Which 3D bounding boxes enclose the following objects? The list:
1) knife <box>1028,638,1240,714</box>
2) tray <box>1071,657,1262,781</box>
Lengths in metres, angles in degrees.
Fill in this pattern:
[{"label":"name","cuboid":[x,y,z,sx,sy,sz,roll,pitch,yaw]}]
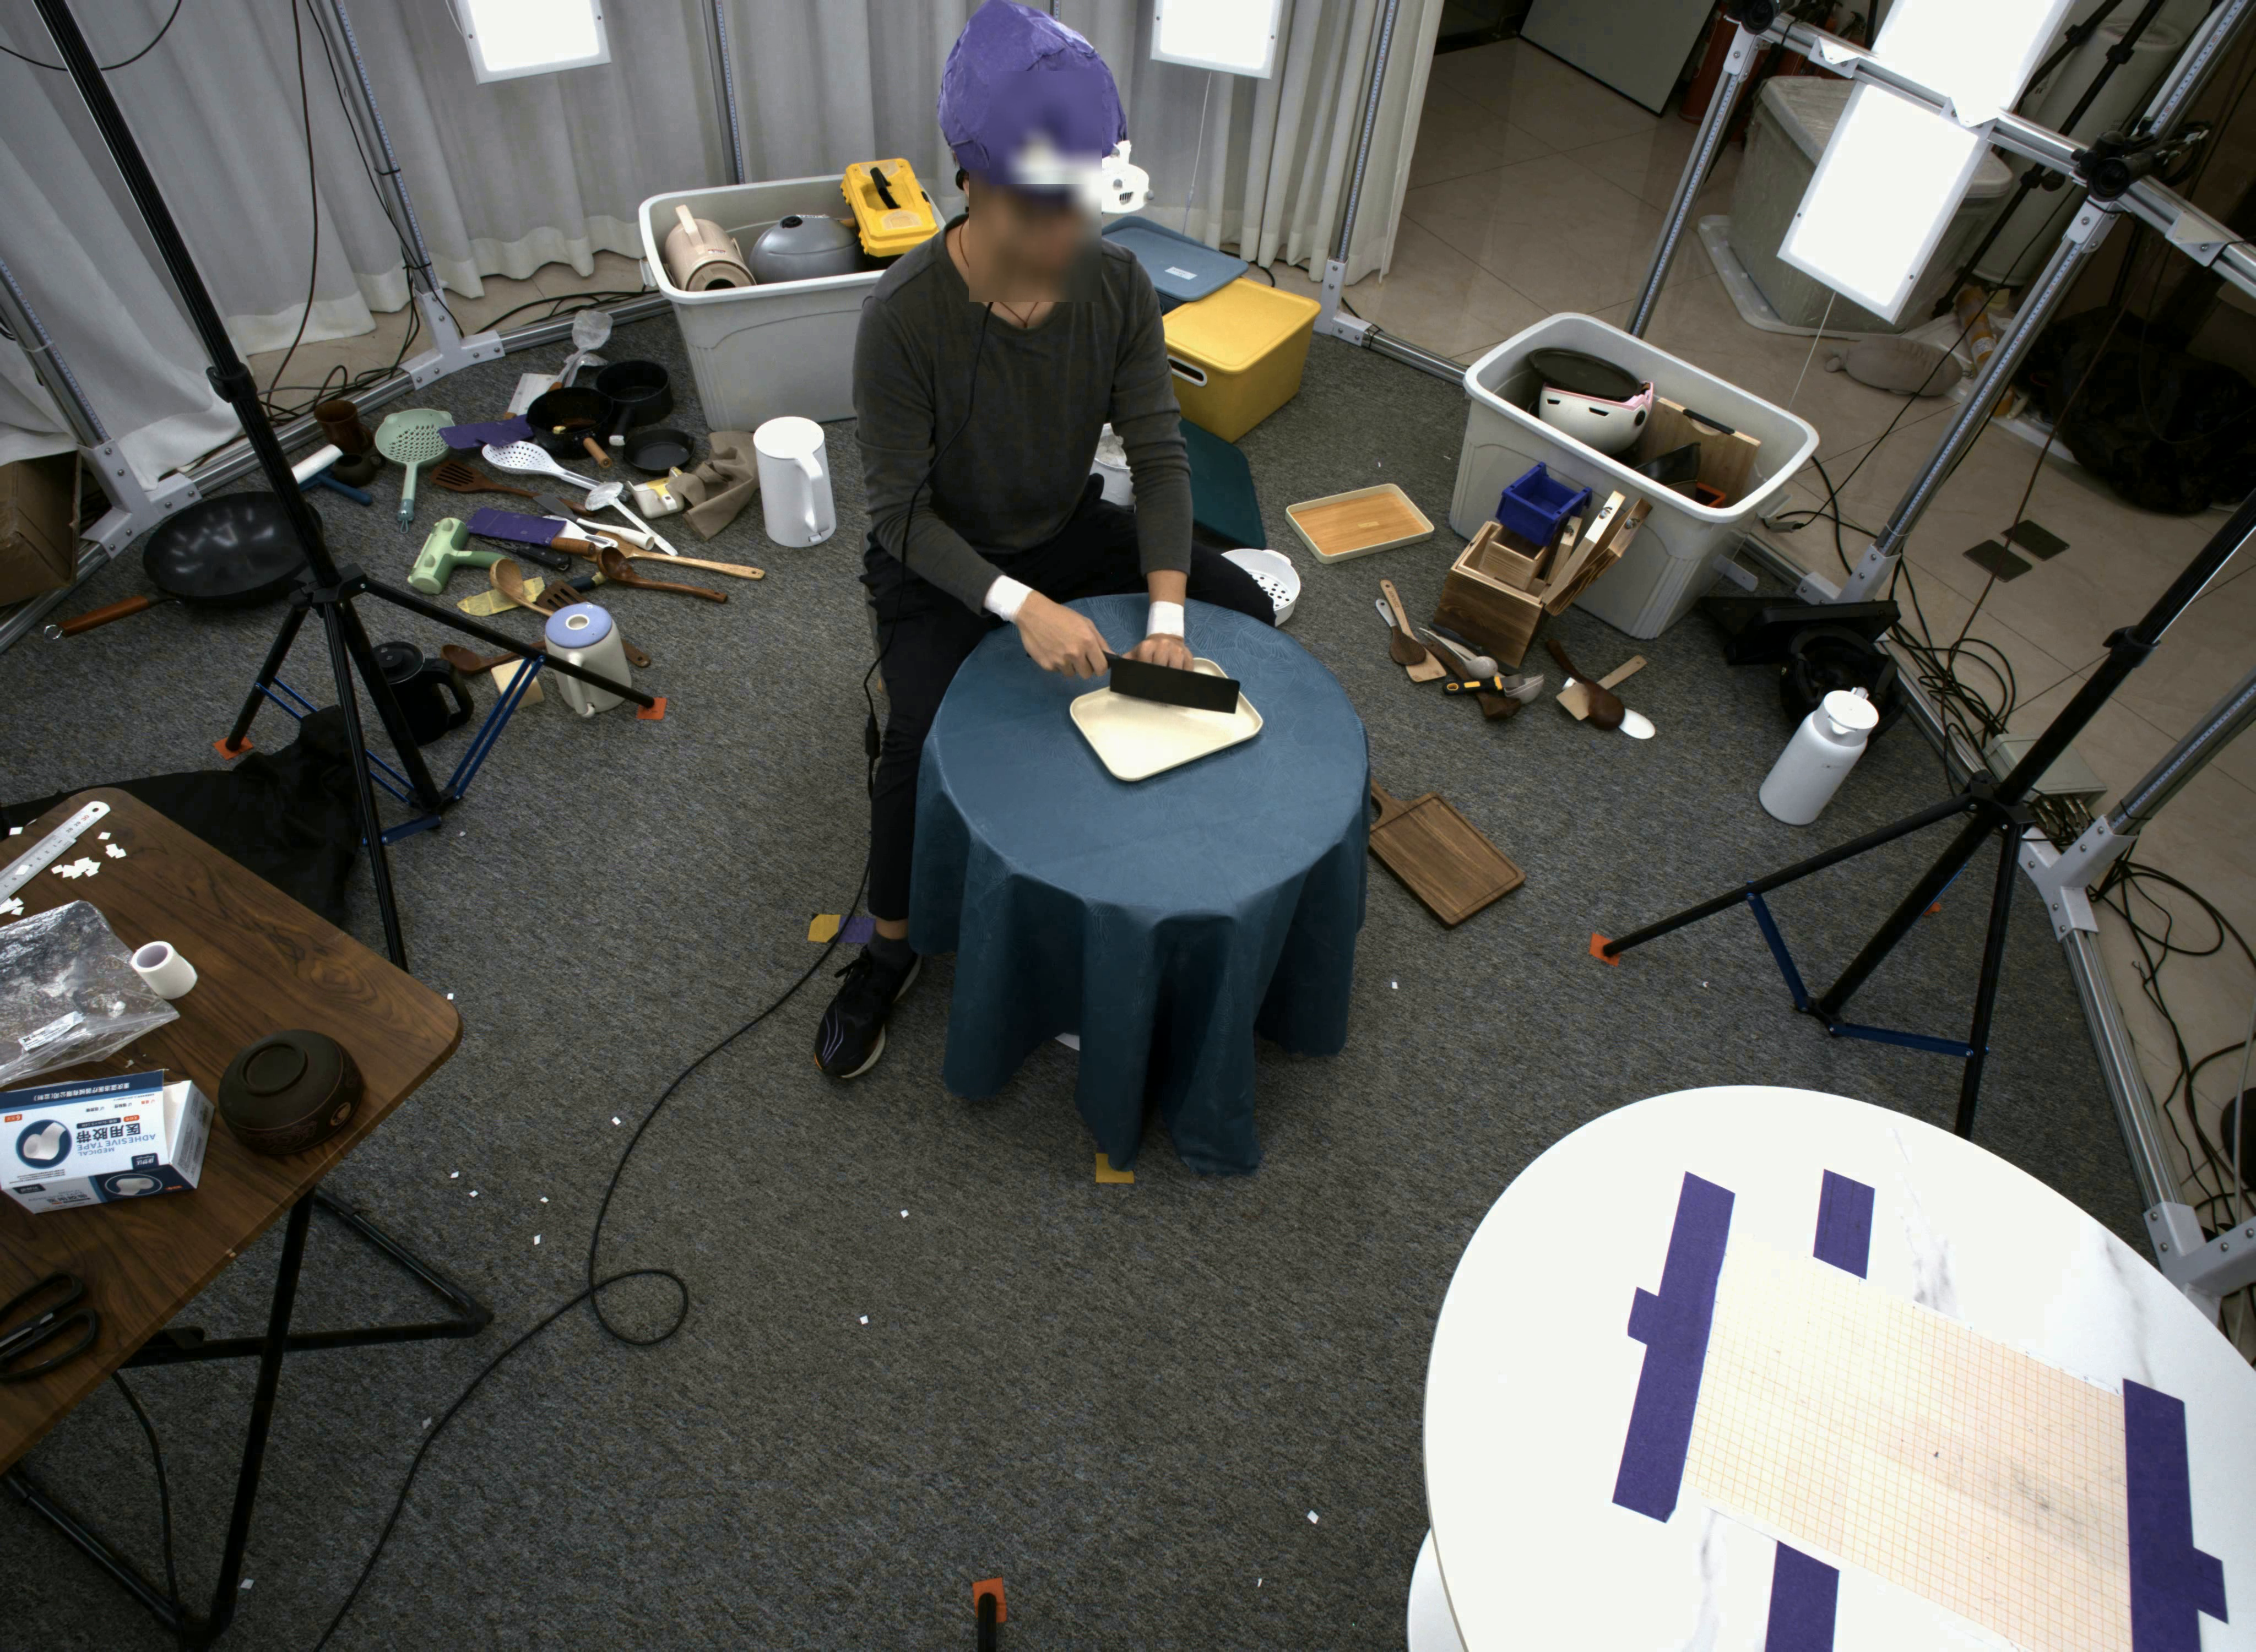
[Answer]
[{"label":"knife","cuboid":[0.008,-0.209,1.783,0.303,0.079,0.021,16,46,5]},{"label":"tray","cuboid":[0.053,-0.150,1.789,0.240,0.017,0.175,-21,53,-20]}]
